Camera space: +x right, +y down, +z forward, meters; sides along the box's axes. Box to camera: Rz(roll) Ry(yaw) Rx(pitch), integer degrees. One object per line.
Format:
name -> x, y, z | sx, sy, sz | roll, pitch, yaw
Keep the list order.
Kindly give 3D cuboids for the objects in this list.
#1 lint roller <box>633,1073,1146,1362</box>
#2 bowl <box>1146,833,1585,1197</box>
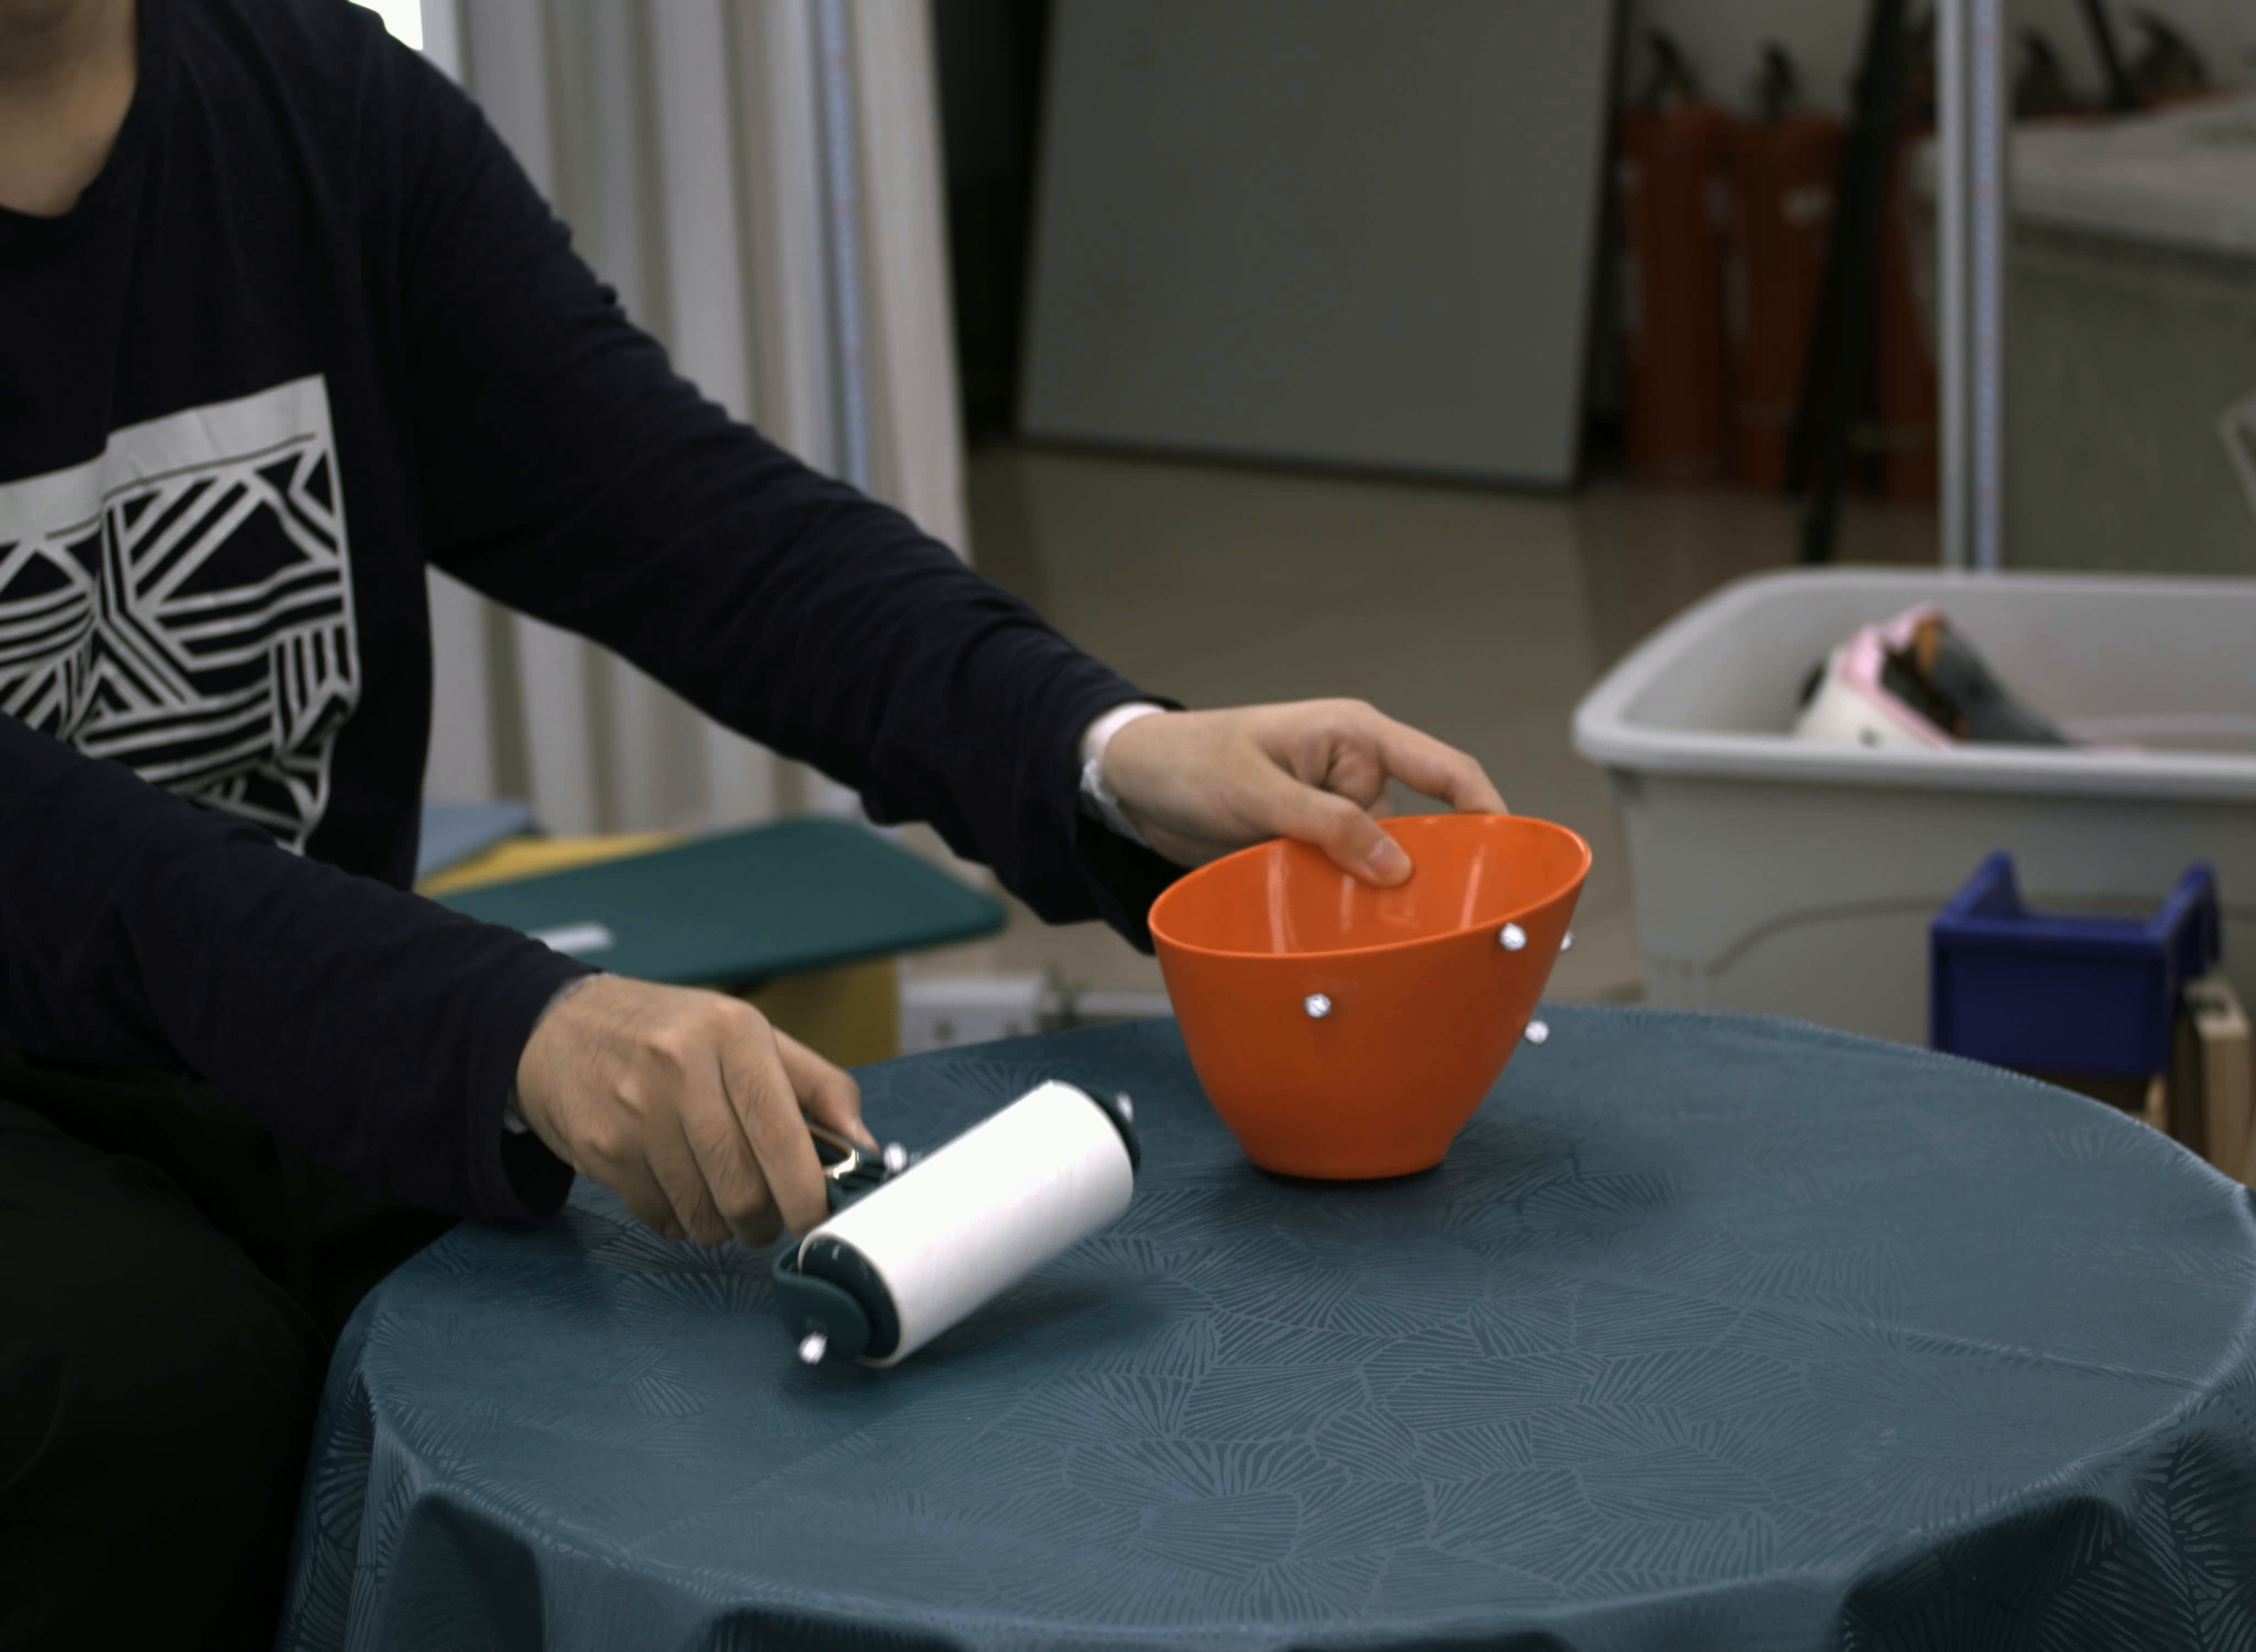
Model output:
lint roller -> -0.096, 0.104, 1.691 | 0.182, 0.048, 0.132 | 18, 39, 42
bowl -> 0.080, 0.064, 1.784 | 0.146, 0.106, 0.148 | -2, 8, -1
